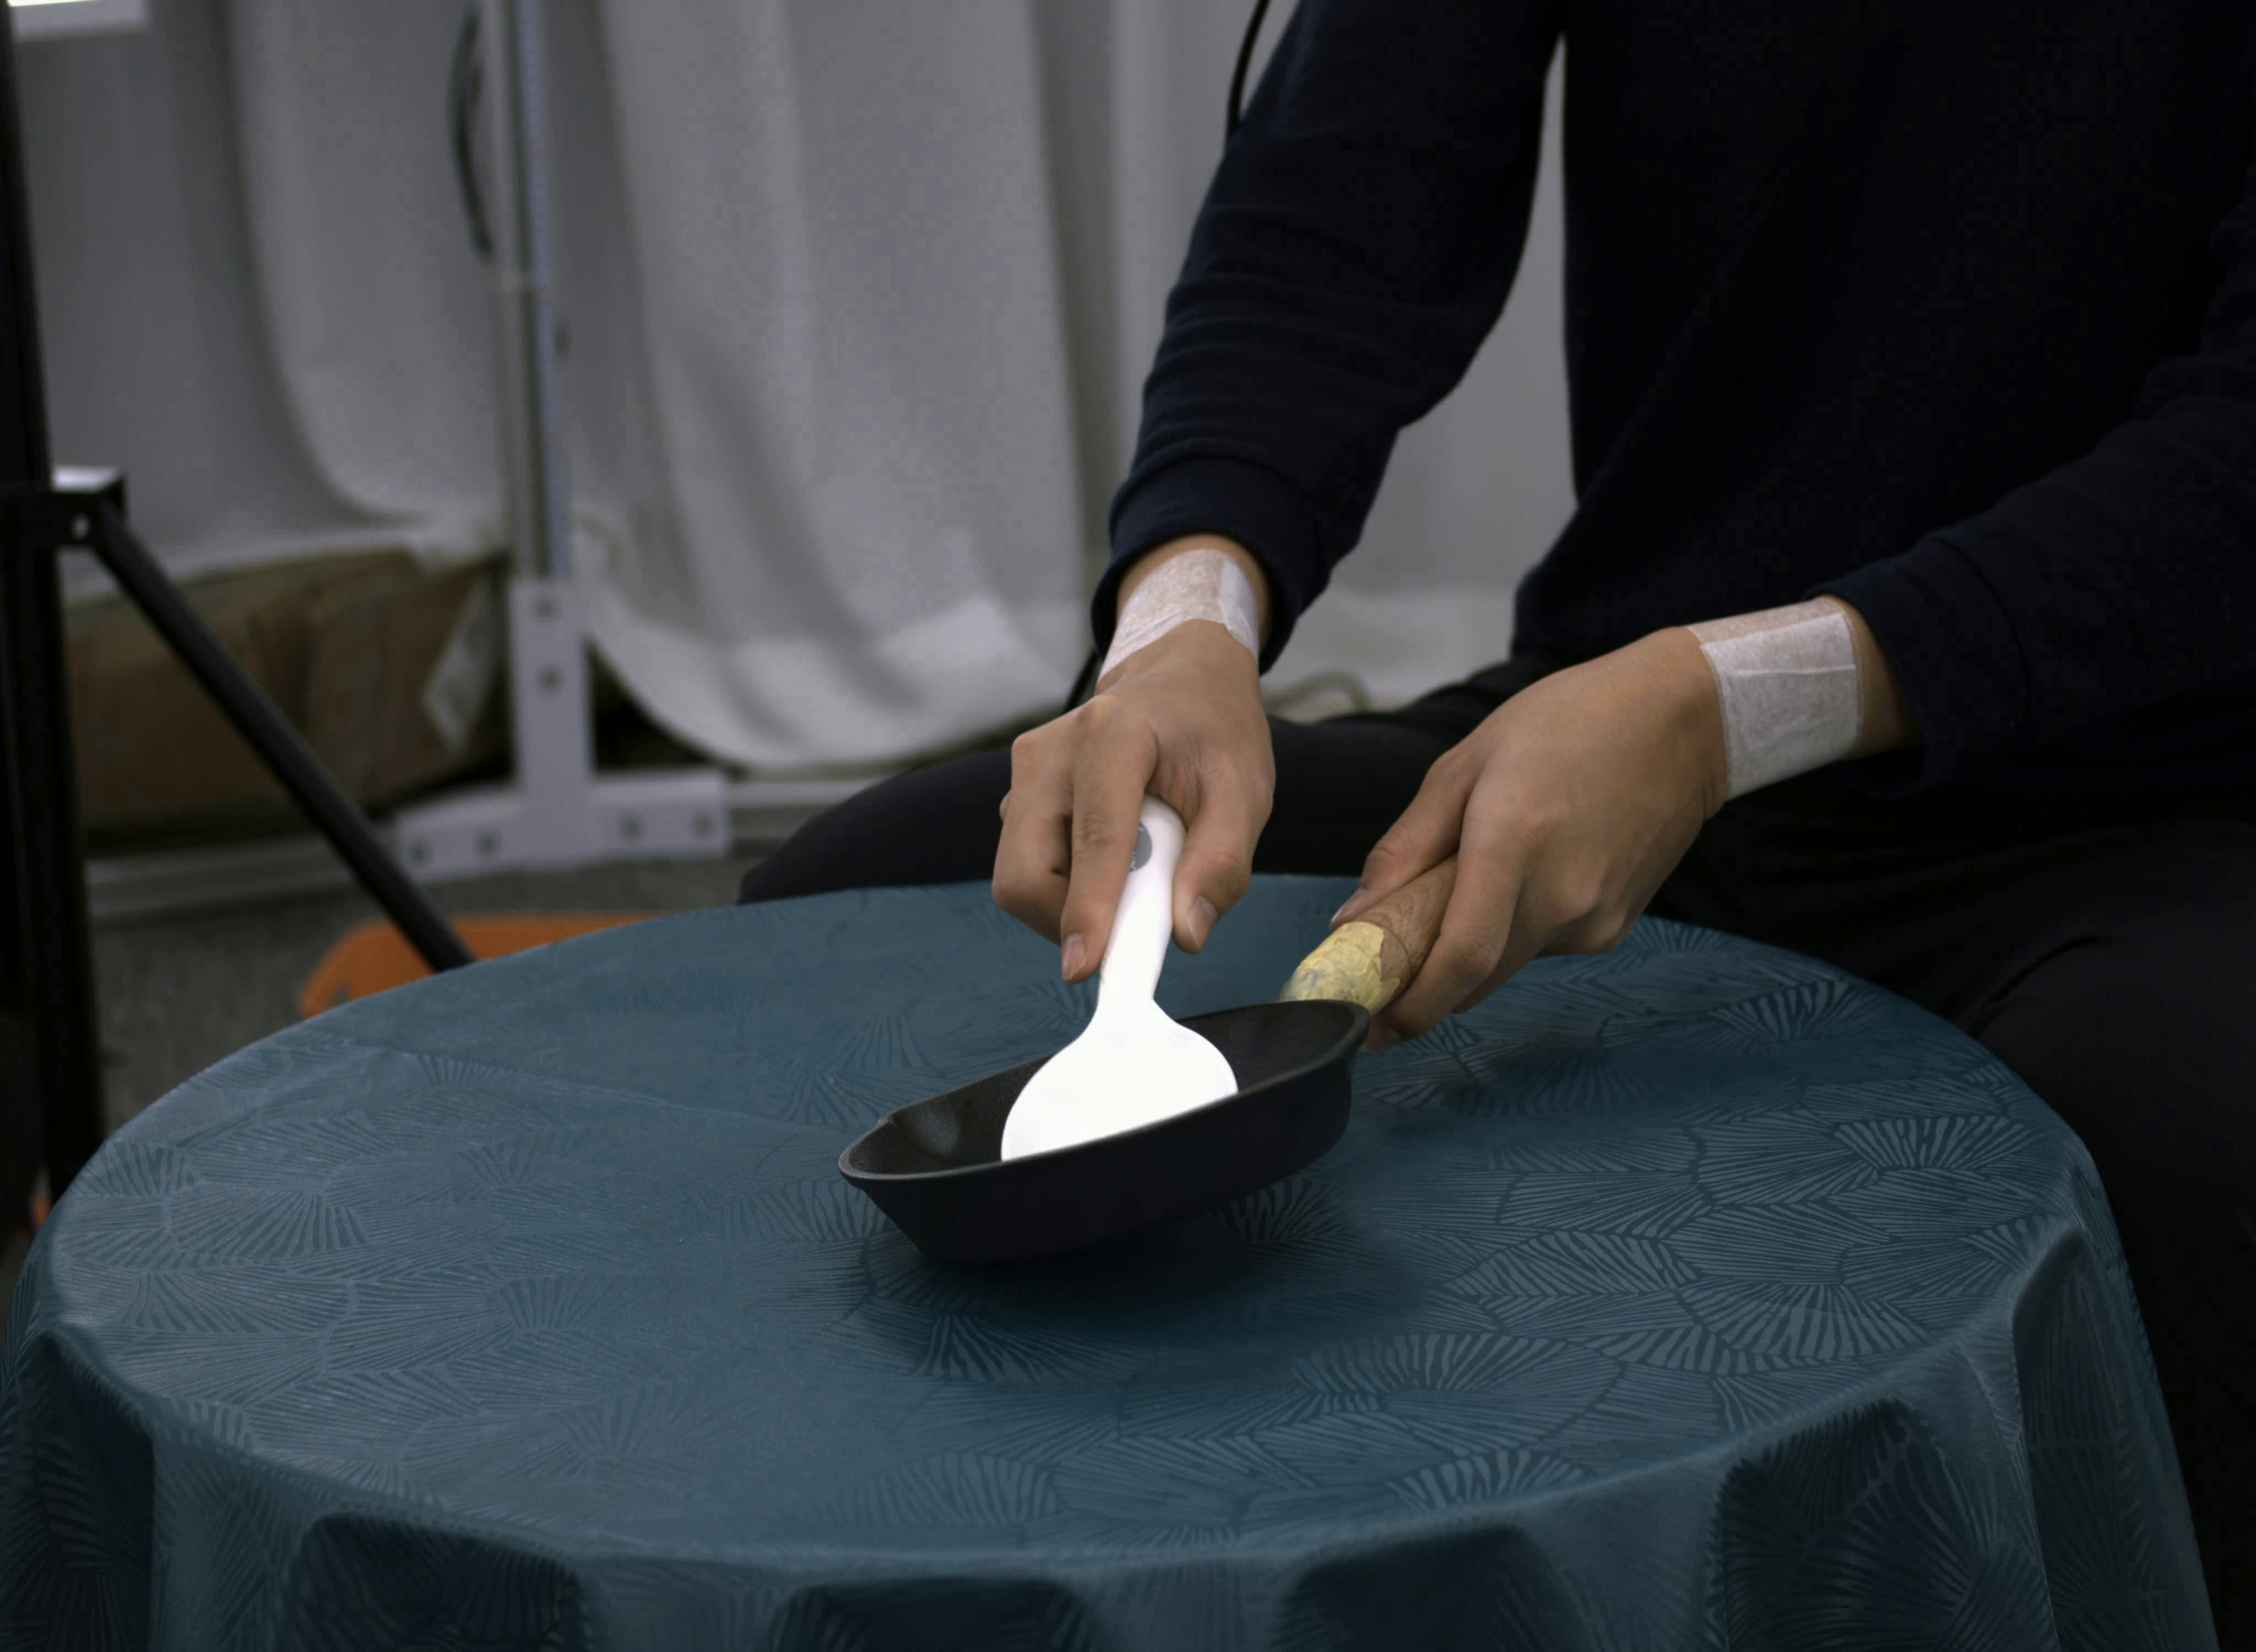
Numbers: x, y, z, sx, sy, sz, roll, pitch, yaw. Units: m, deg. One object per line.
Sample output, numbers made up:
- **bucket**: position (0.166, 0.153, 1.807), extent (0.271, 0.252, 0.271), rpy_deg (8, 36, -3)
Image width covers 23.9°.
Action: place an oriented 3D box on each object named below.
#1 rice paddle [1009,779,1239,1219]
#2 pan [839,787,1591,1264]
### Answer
- **rice paddle**: position (0.001, 0.051, 1.536), extent (0.069, 0.029, 0.206), rpy_deg (-11, 30, 9)
- **pan**: position (0.049, 0.057, 1.567), extent (0.172, 0.049, 0.317), rpy_deg (-10, 11, 45)
